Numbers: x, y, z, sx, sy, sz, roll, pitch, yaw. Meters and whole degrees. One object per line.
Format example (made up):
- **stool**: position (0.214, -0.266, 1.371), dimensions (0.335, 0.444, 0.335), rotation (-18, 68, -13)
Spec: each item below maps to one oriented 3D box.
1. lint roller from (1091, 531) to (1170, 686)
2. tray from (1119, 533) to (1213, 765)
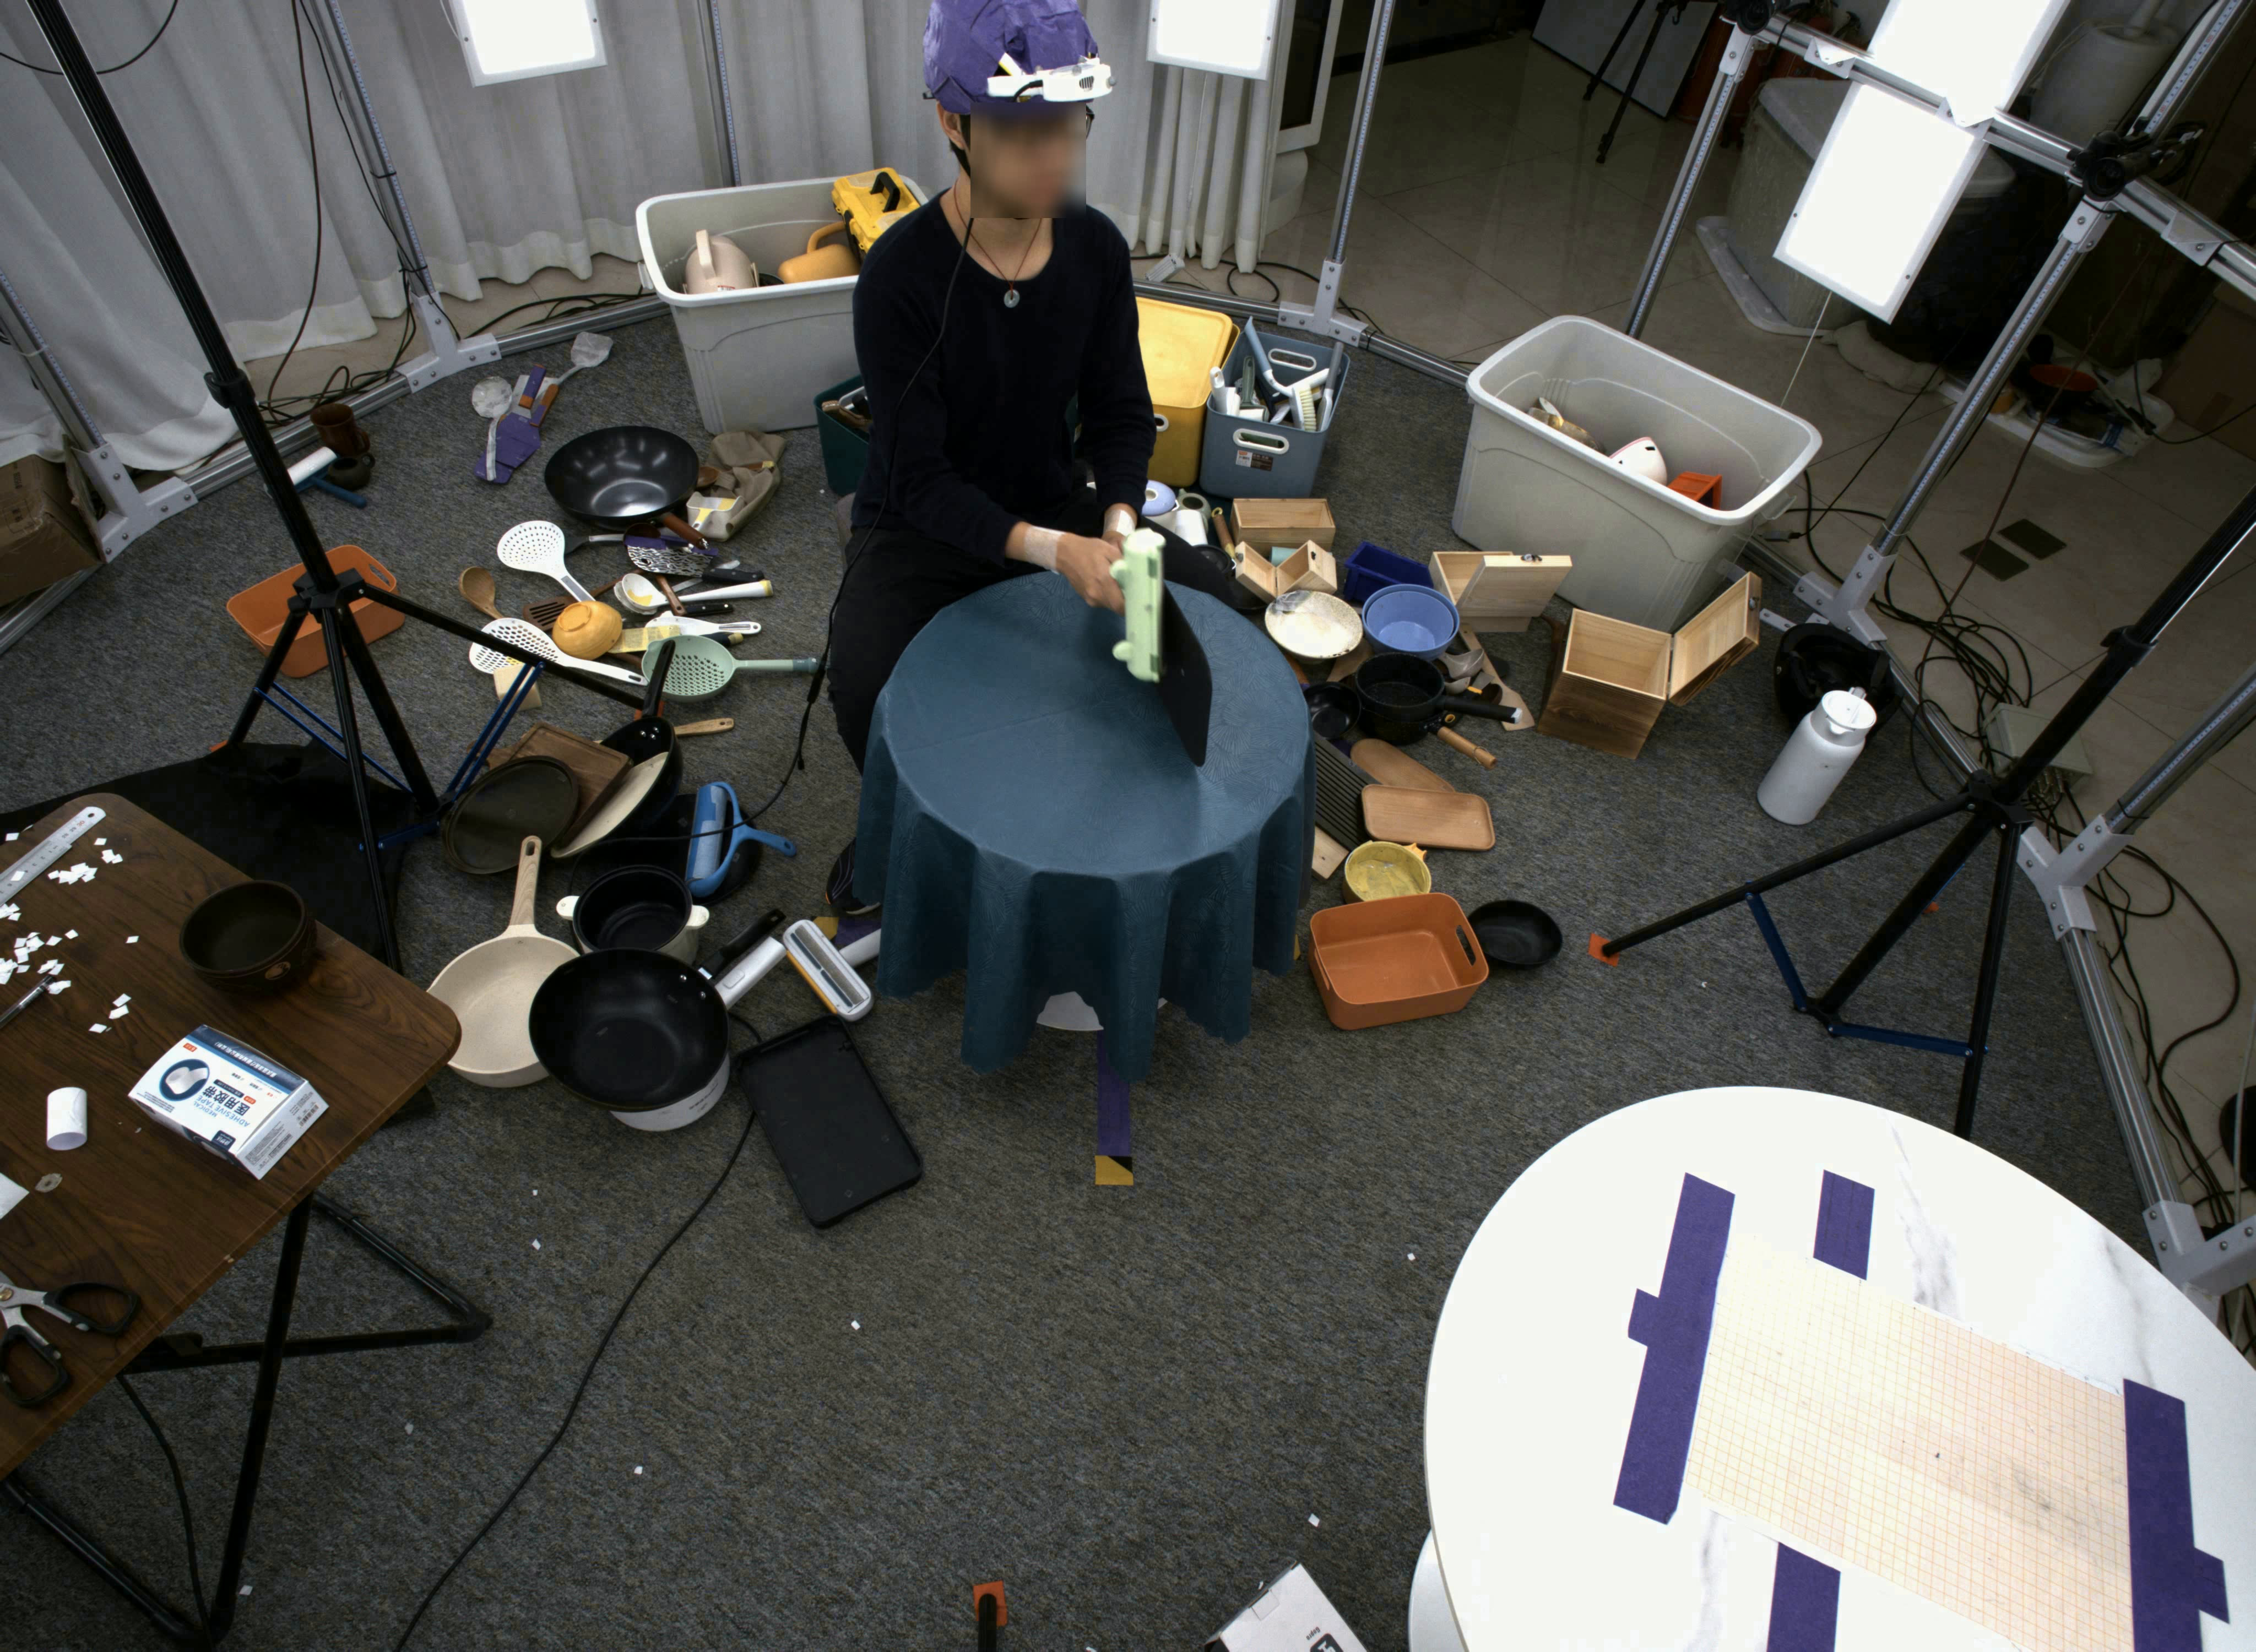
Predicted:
- **lint roller**: position (-0.014, -0.303, 1.710), dimensions (0.082, 0.194, 0.186), rotation (-23, 38, -31)
- **tray**: position (0.048, -0.248, 1.751), dimensions (0.010, 0.206, 0.333), rotation (-15, 51, -14)
